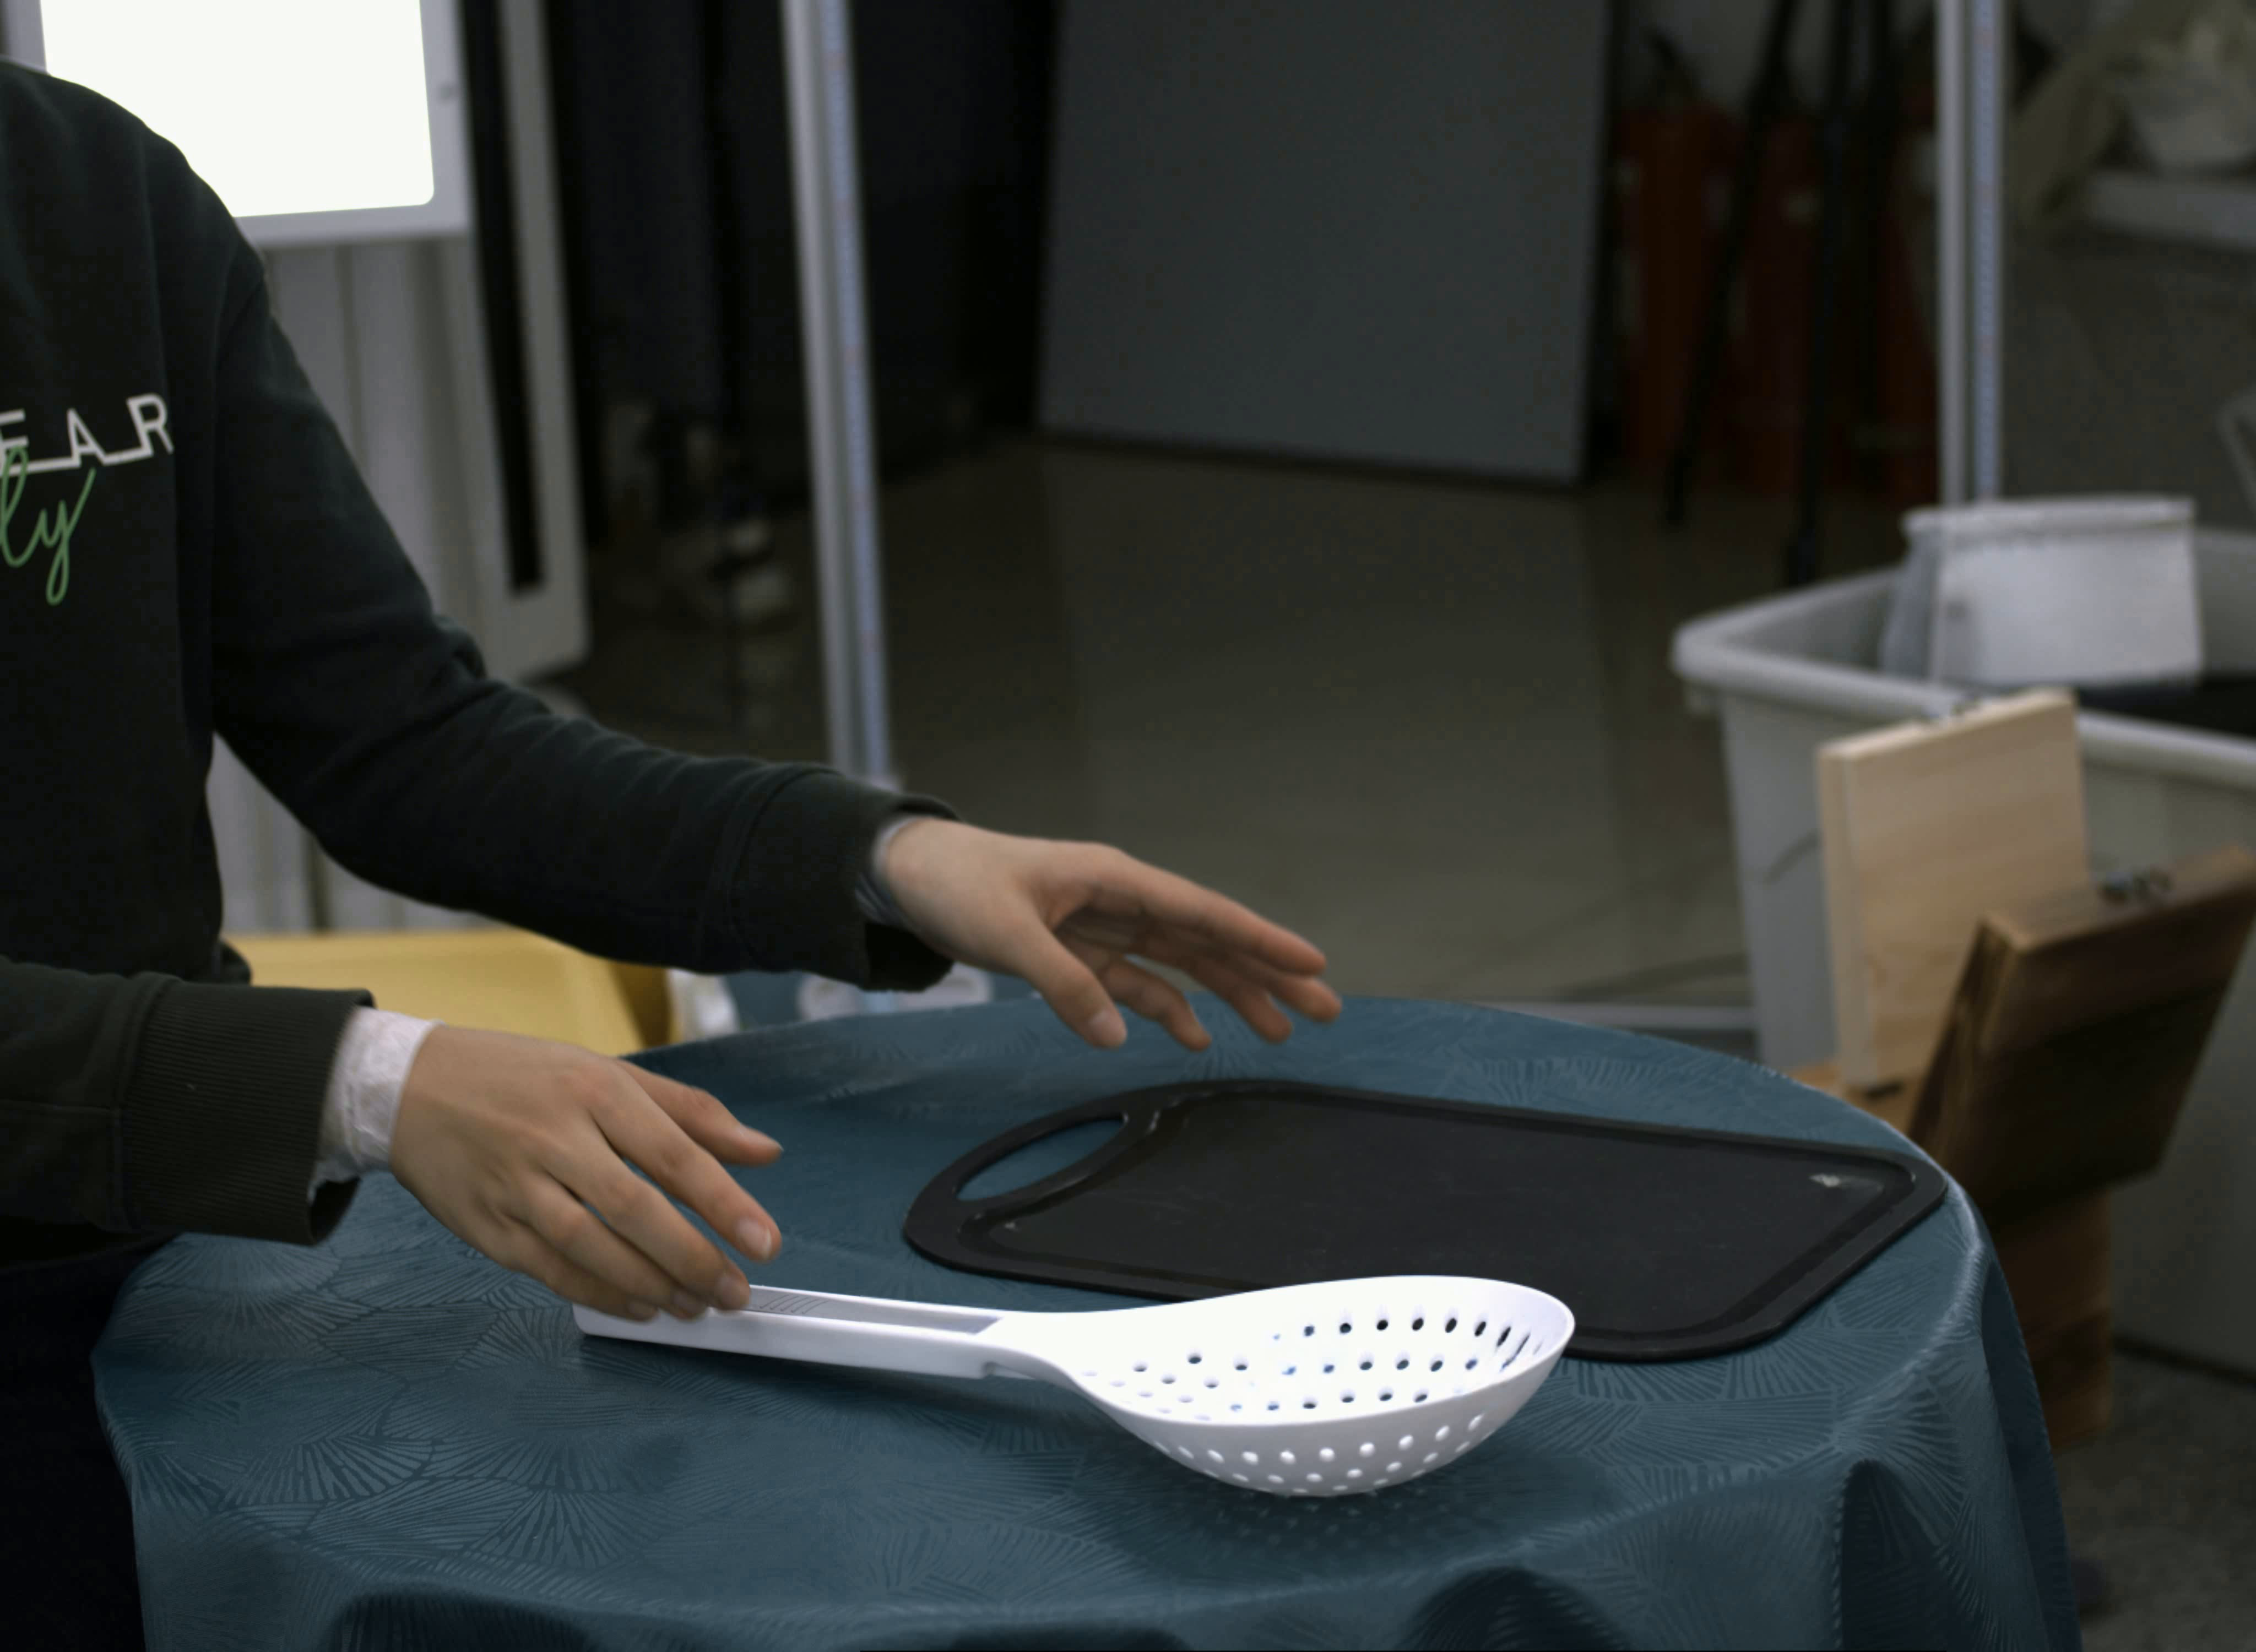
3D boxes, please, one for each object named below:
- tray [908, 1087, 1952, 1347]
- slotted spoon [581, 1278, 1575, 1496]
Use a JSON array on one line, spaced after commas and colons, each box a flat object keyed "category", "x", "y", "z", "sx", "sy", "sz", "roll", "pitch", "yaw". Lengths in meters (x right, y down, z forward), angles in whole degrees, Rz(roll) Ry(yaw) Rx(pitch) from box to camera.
[{"category": "tray", "x": 0.089, "y": 0.121, "z": 1.731, "sx": 0.327, "sy": 0.010, "sz": 0.208, "roll": 4, "pitch": 16, "yaw": 32}, {"category": "slotted spoon", "x": -0.026, "y": 0.151, "z": 1.564, "sx": 0.352, "sy": 0.046, "sz": 0.133, "roll": 6, "pitch": 15, "yaw": 38}]
